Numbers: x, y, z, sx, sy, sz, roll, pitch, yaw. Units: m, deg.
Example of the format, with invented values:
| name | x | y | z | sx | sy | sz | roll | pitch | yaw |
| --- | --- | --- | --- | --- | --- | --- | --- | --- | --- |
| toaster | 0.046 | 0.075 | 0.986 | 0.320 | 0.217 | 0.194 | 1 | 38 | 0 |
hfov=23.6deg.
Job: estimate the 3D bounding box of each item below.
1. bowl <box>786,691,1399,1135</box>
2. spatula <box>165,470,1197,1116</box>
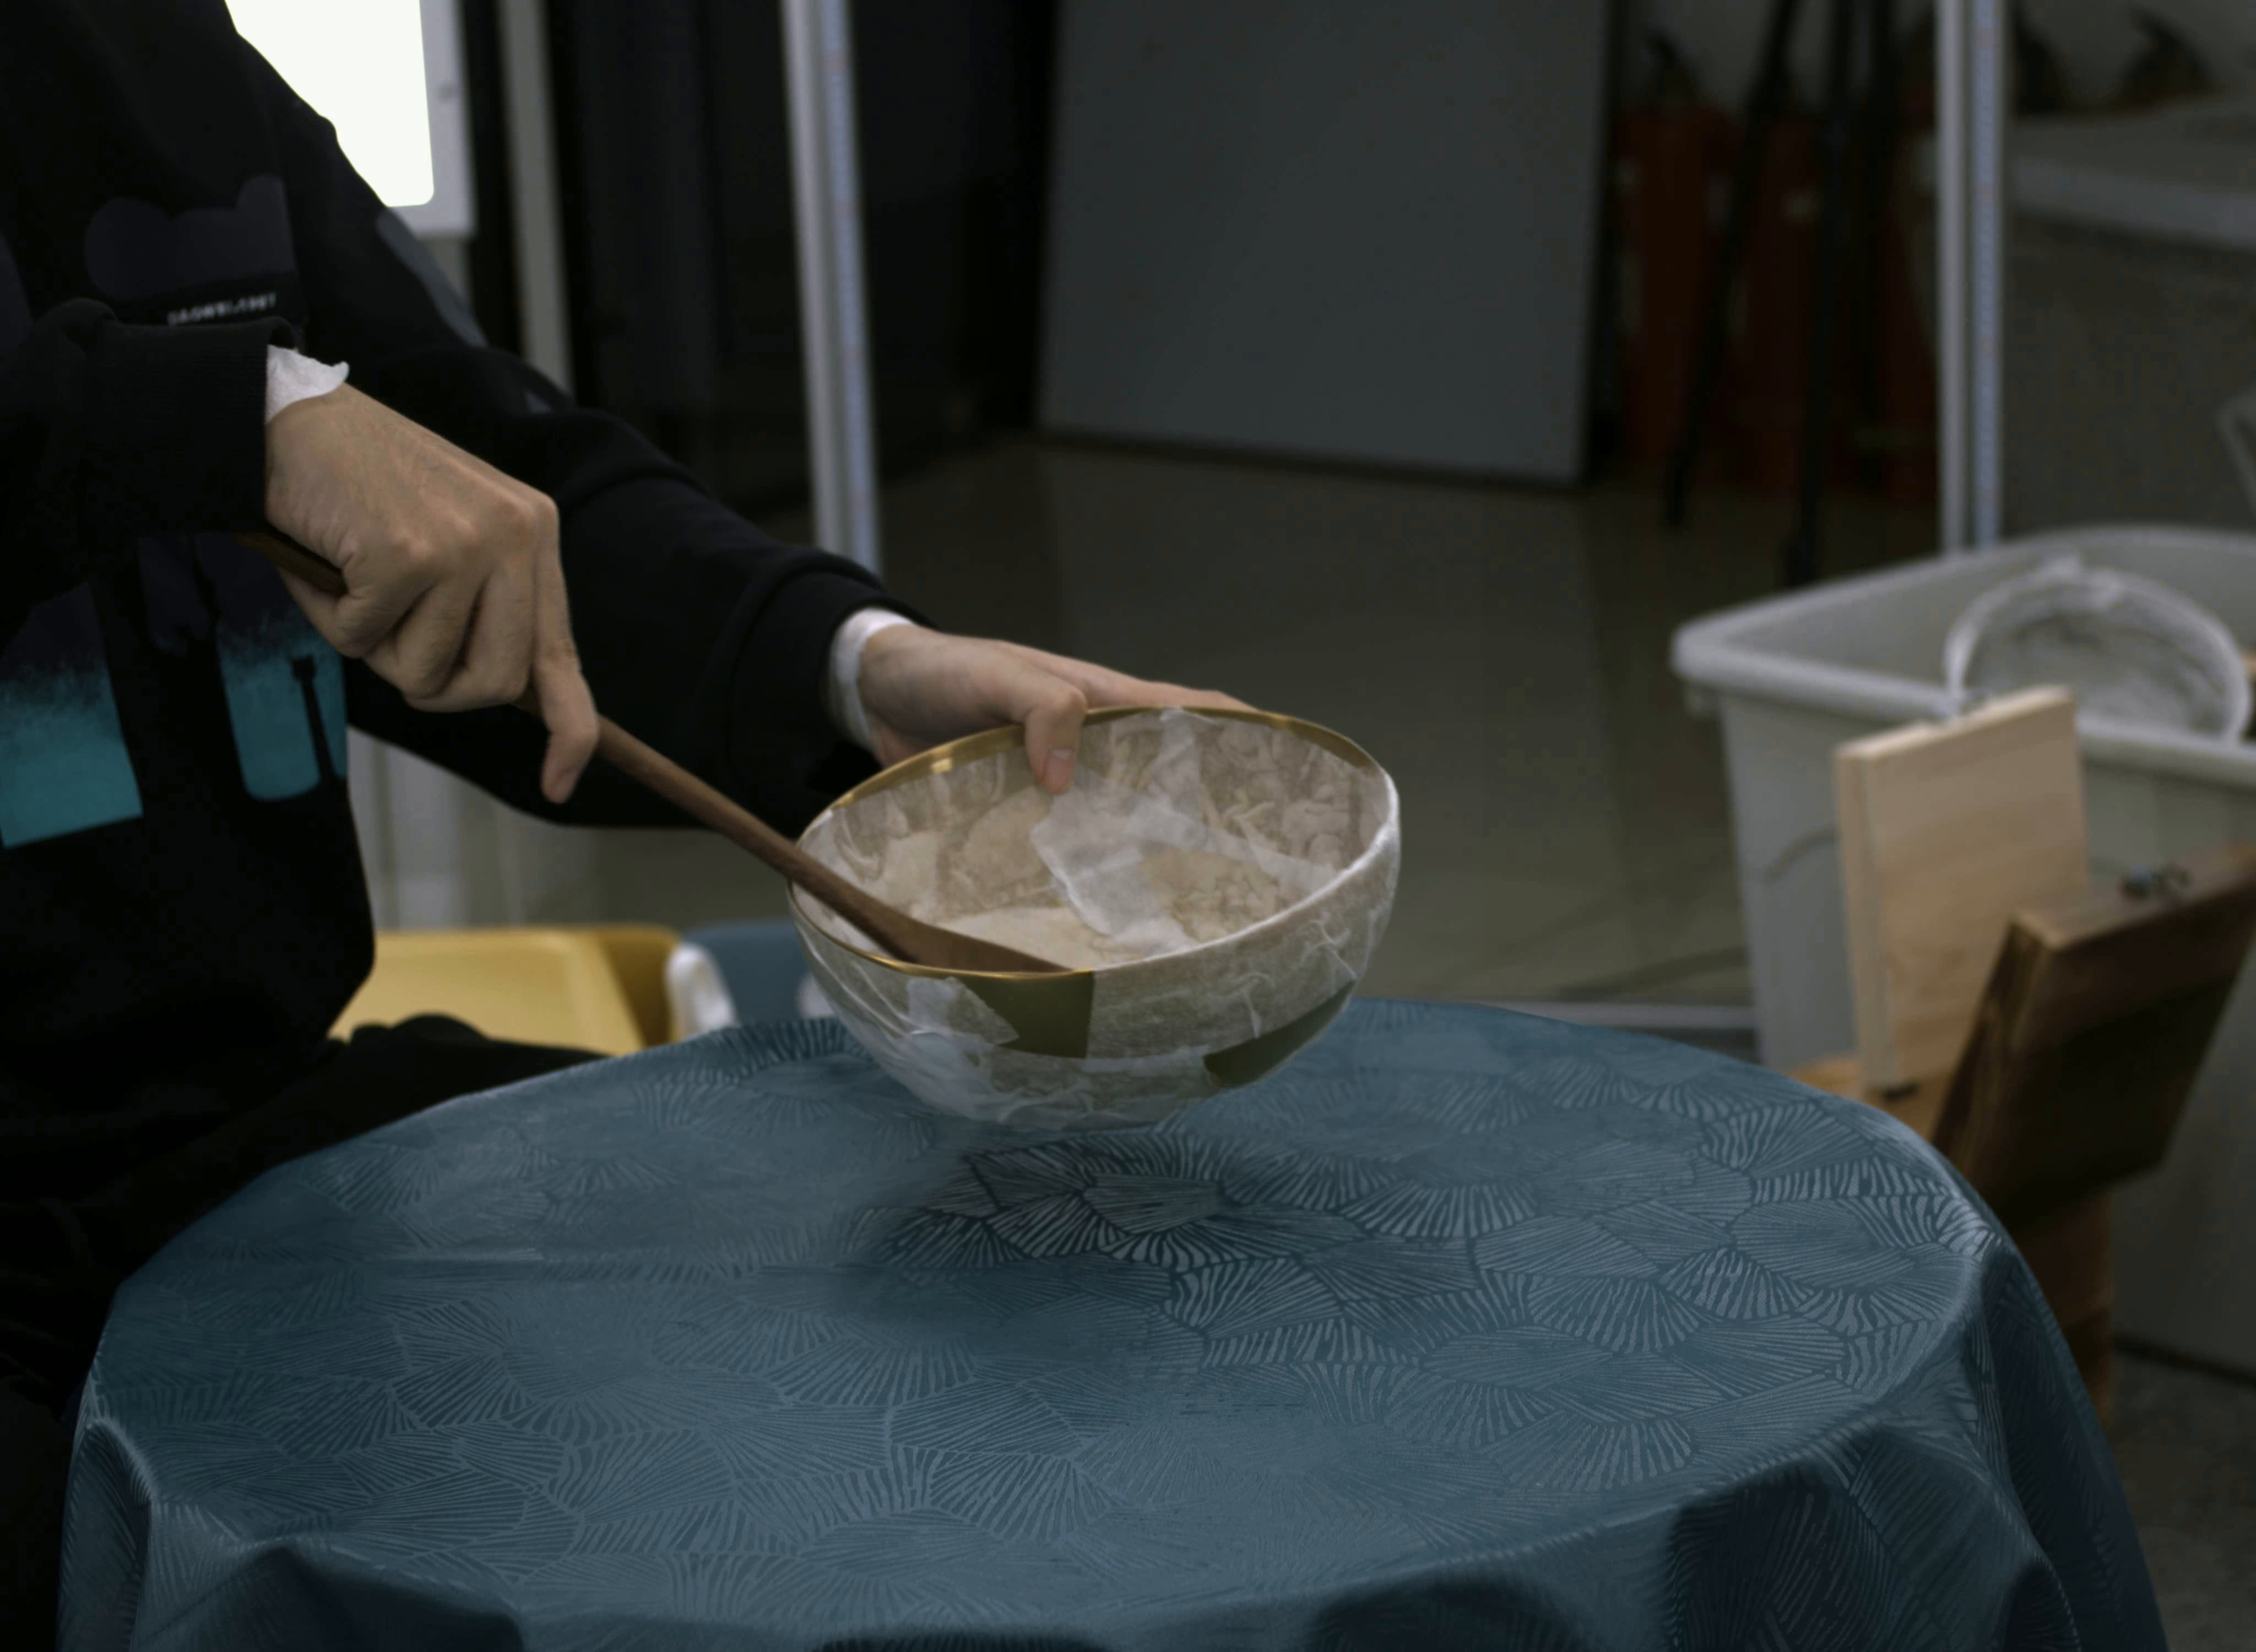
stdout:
| name | x | y | z | sx | sy | sz | roll | pitch | yaw |
| --- | --- | --- | --- | --- | --- | --- | --- | --- | --- |
| bowl | -0.007 | 0.039 | 1.751 | 0.212 | 0.095 | 0.215 | -11 | 24 | 4 |
| spatula | -0.140 | -0.013 | 1.731 | 0.383 | 0.016 | 0.096 | 32 | 15 | -3 |
